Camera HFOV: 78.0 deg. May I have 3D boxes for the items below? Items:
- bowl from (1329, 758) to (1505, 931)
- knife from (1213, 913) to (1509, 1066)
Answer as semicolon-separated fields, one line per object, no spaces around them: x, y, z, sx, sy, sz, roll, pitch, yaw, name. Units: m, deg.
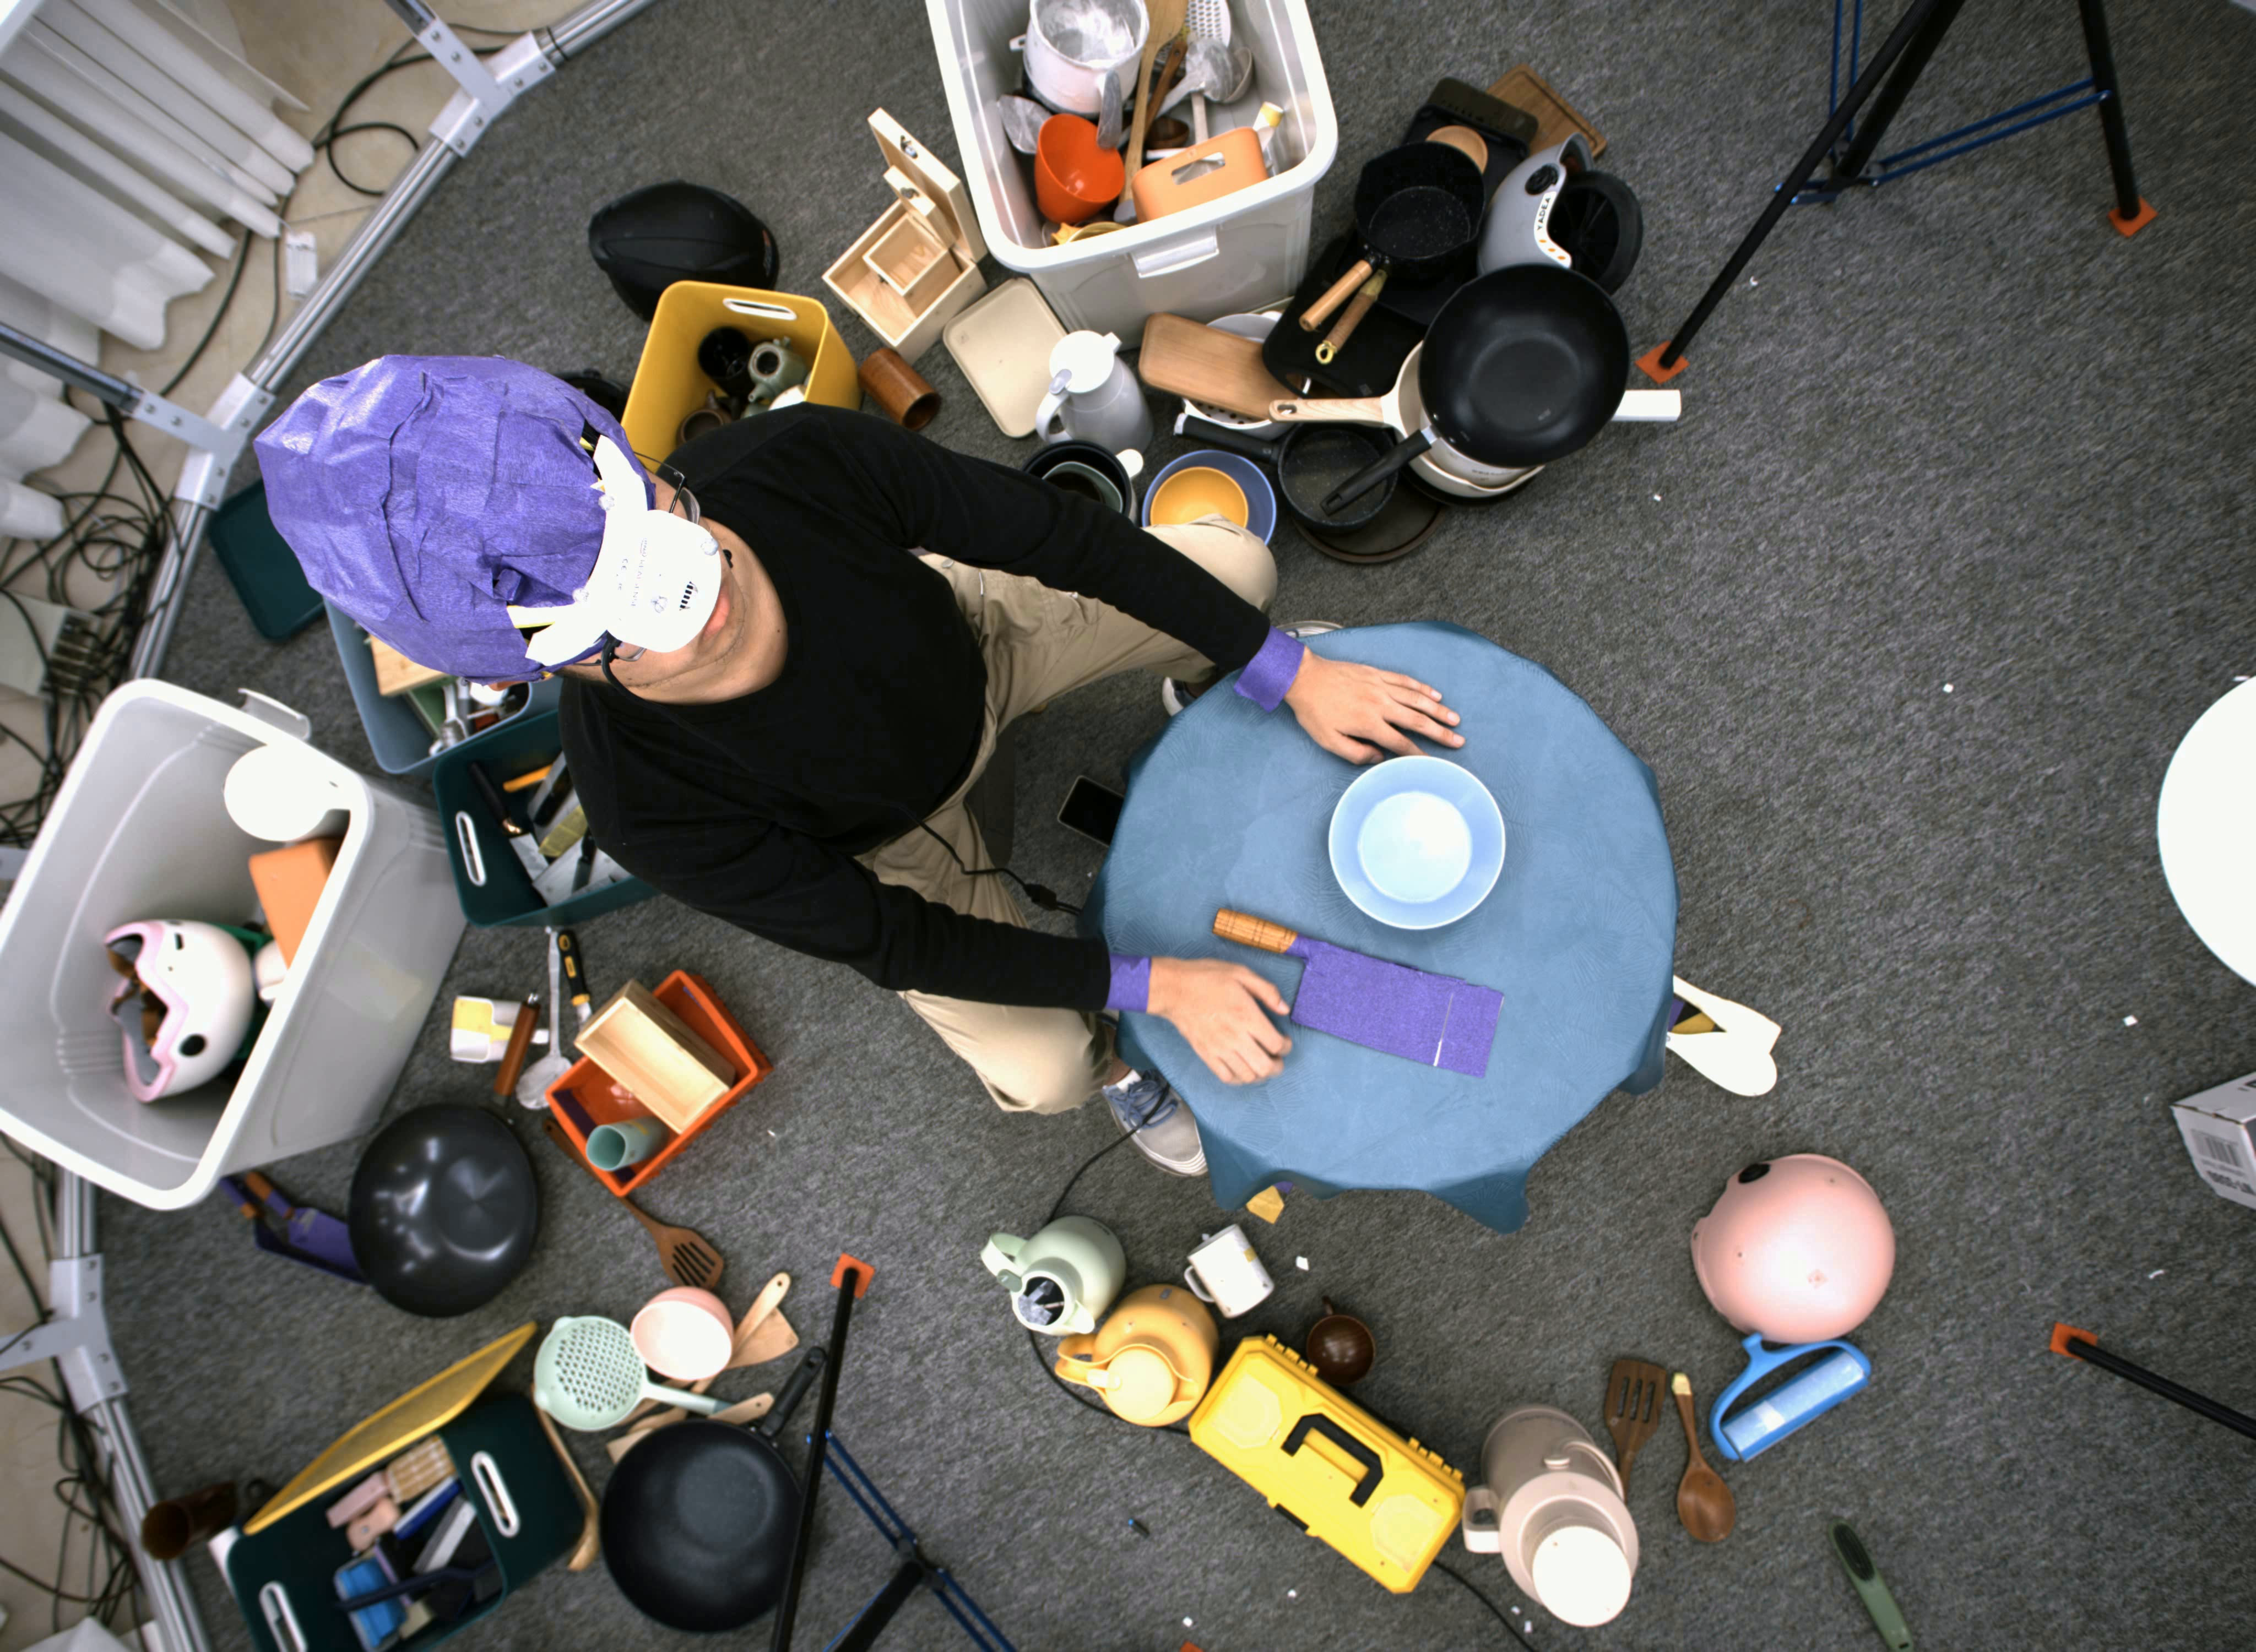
0.297;0.020;1.422;0.177;0.070;0.175;-1;86;11;bowl
0.234;0.172;1.450;0.315;0.032;0.103;15;90;10;knife
